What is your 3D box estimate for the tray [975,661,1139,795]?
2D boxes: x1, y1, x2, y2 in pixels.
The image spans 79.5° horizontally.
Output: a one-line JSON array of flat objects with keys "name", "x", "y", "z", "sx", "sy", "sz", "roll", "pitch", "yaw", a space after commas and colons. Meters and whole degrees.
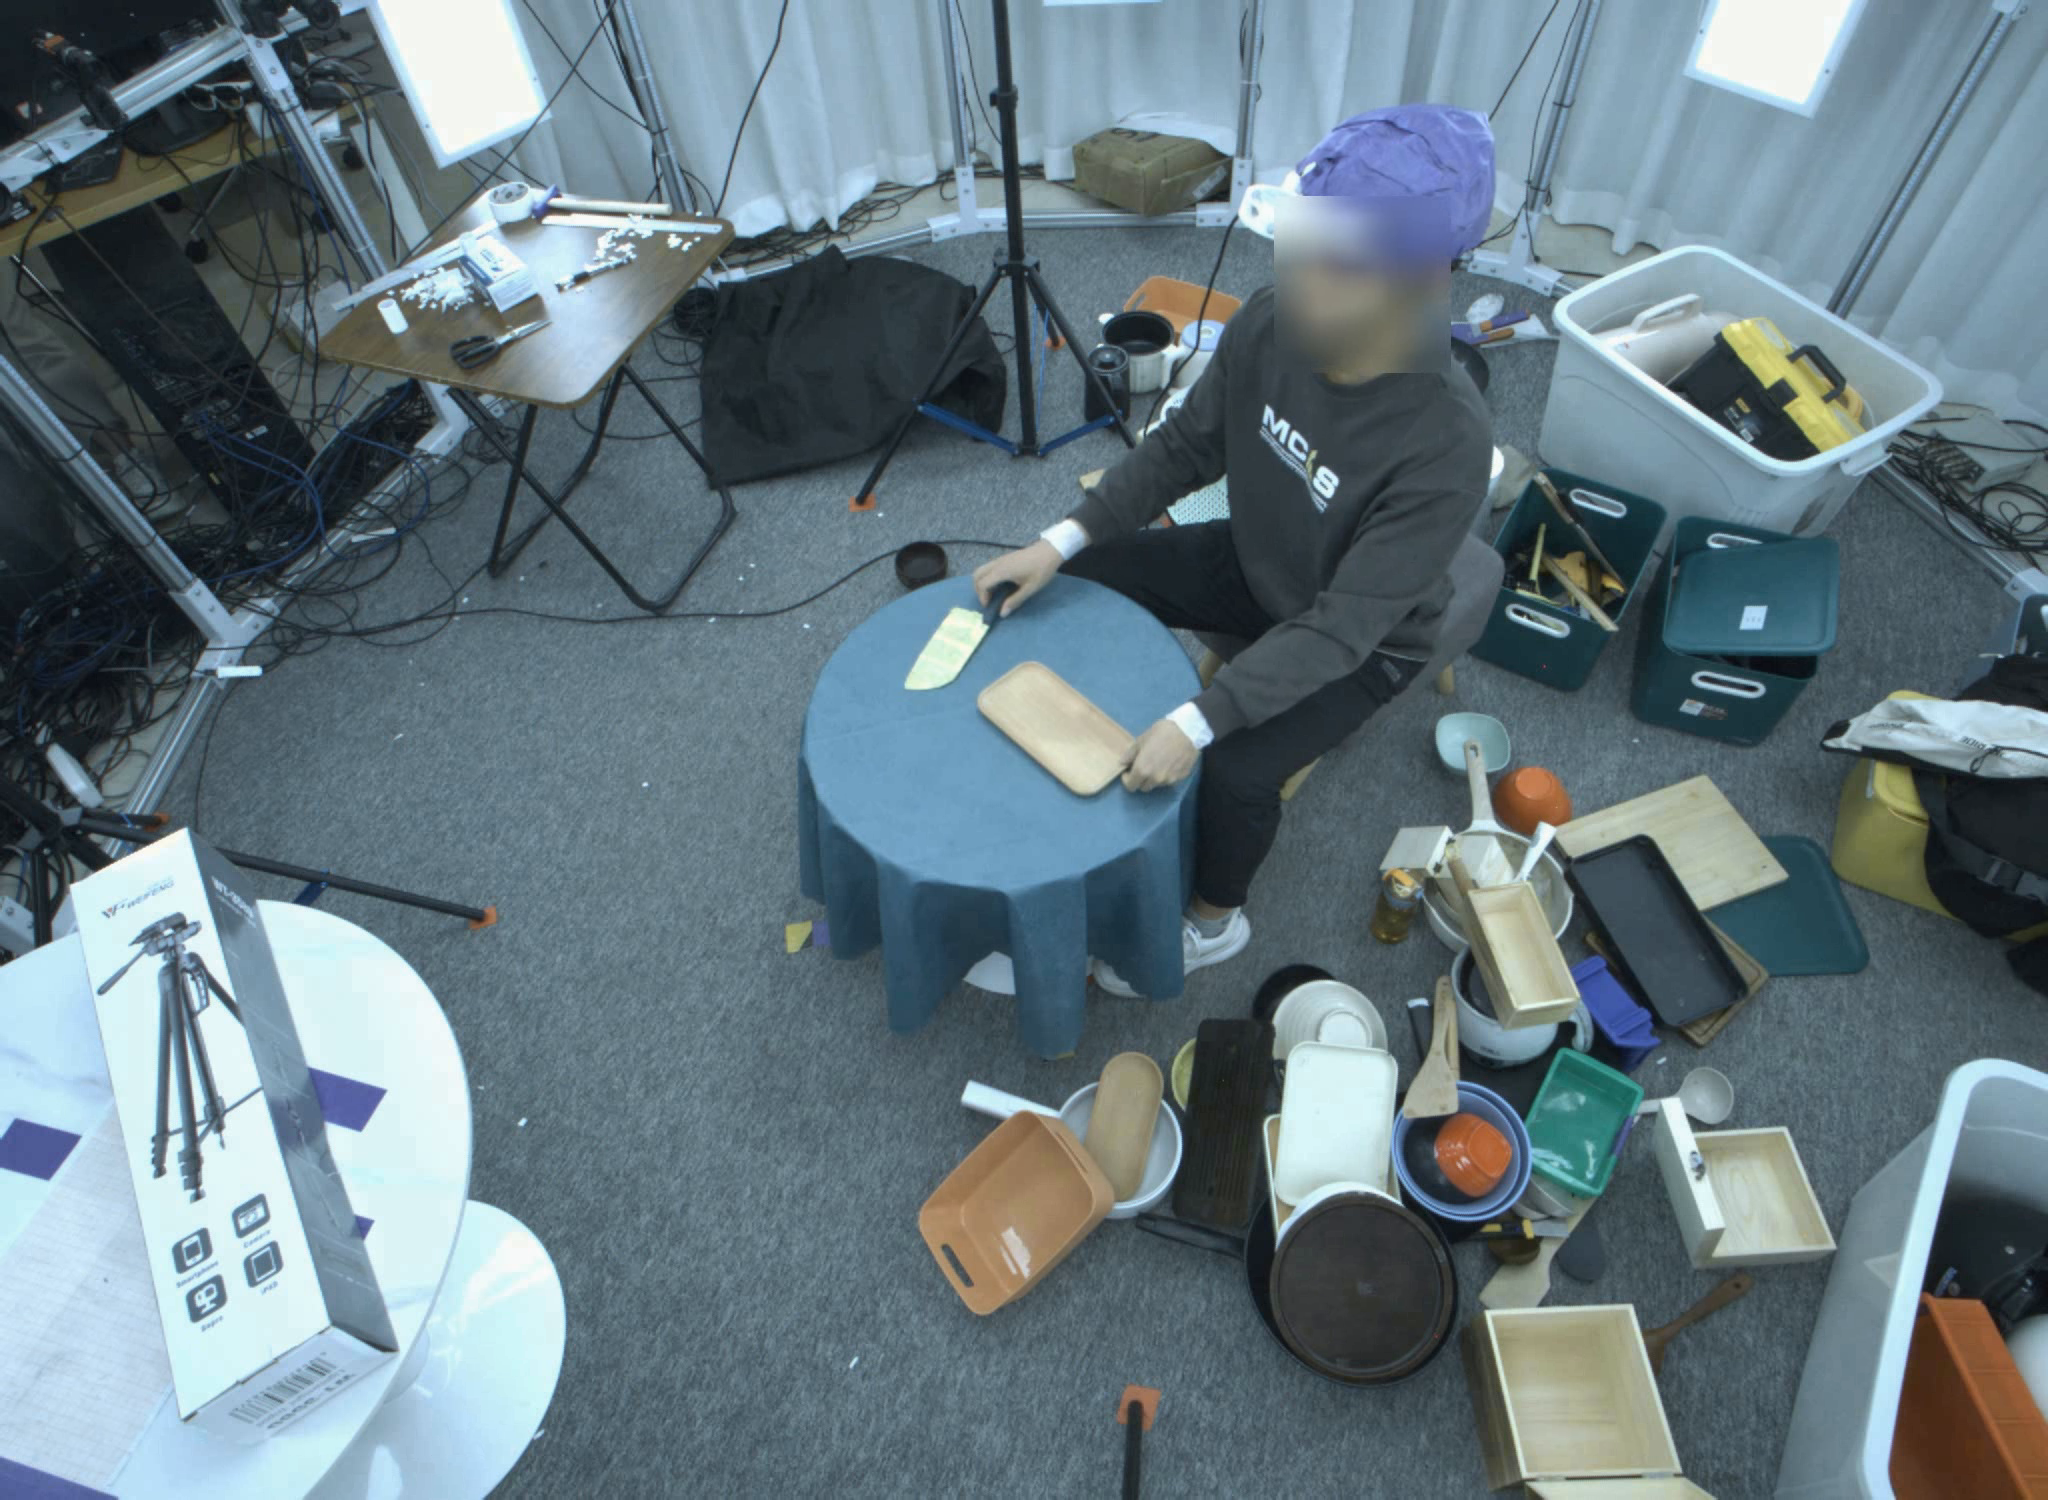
[{"name": "tray", "x": 0.047, "y": -0.034, "z": 1.808, "sx": 0.131, "sy": 0.023, "sz": 0.246, "roll": -36, "pitch": 60, "yaw": -25}]

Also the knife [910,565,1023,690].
[{"name": "knife", "x": -0.089, "y": -0.196, "z": 1.928, "sx": 0.080, "sy": 0.027, "sz": 0.290, "roll": 26, "pitch": 60, "yaw": 17}]
